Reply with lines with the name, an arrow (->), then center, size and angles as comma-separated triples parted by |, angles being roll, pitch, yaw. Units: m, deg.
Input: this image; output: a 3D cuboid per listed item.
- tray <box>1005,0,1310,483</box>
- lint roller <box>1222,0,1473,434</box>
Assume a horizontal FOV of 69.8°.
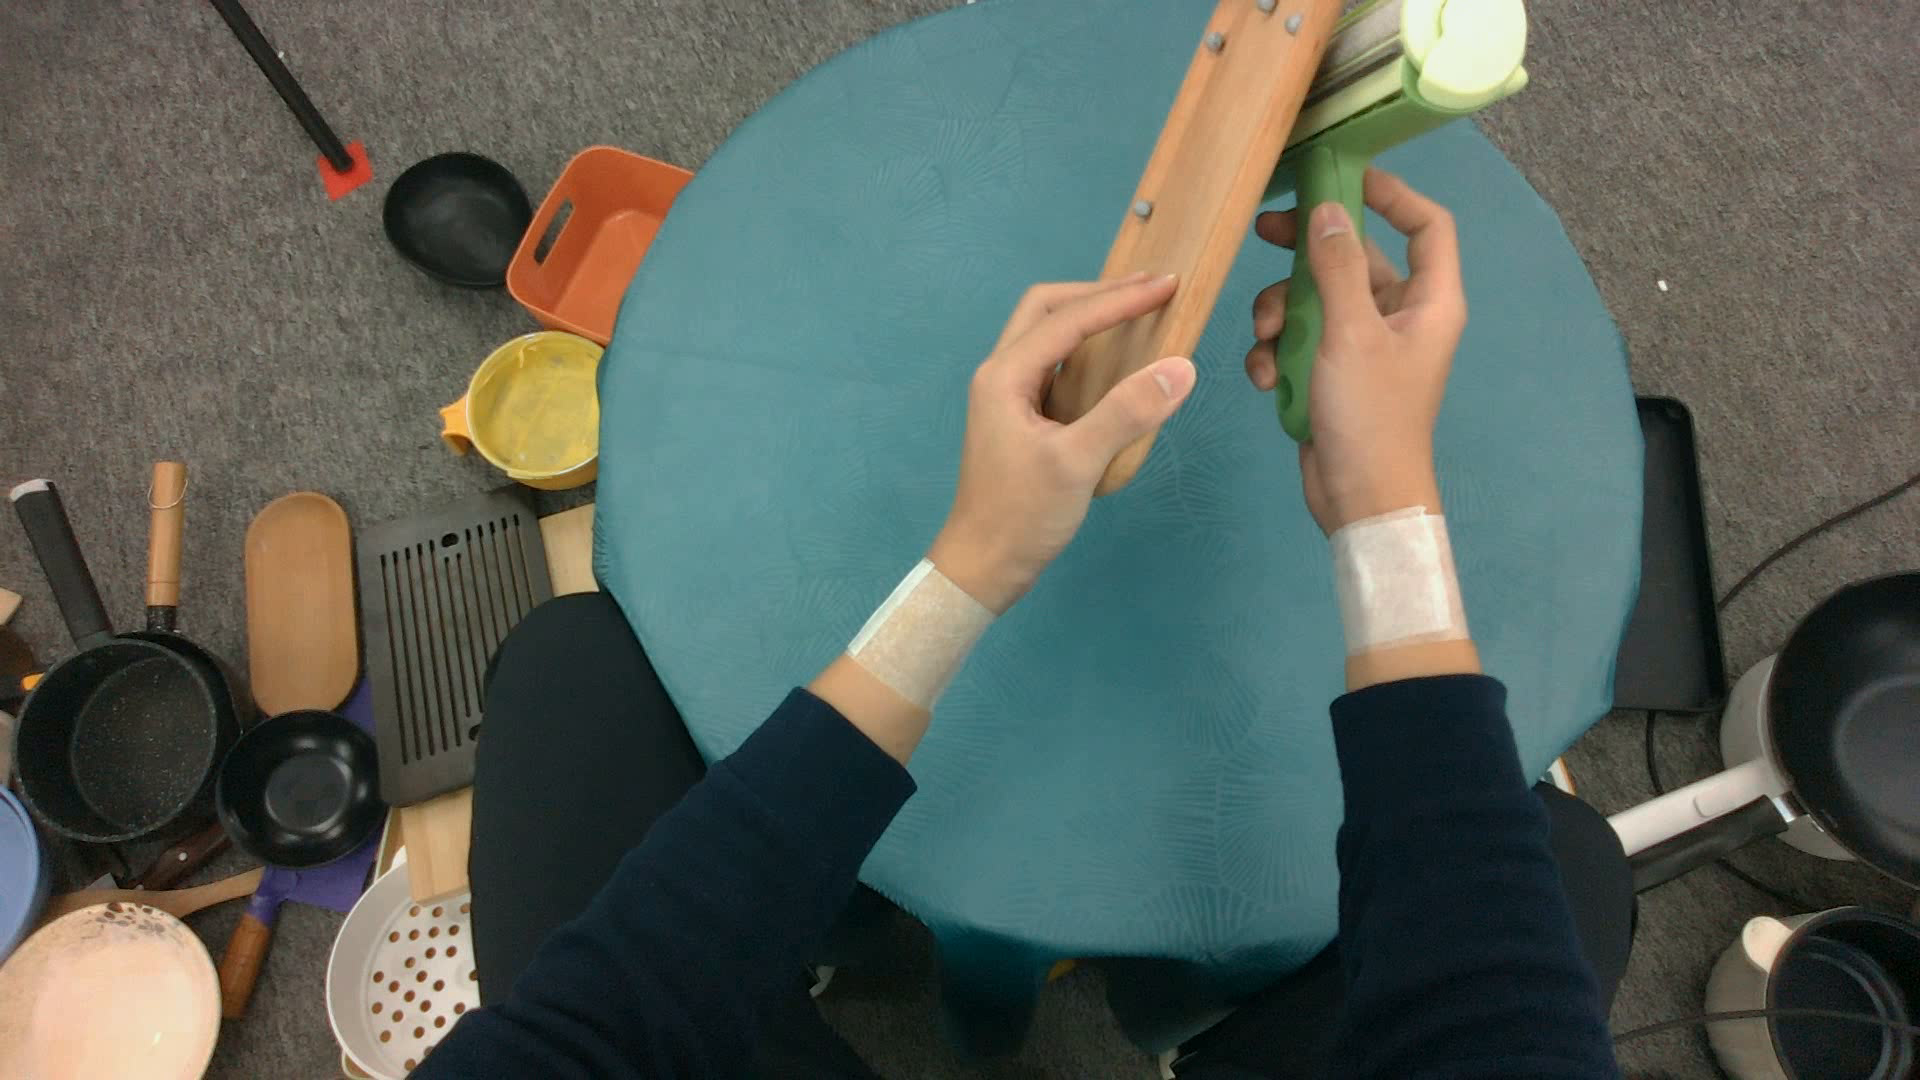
tray -> 0.085, -0.145, 0.602 | 0.023, 0.130, 0.250 | 20, 95, -14
lint roller -> 0.159, -0.143, 0.605 | 0.082, 0.198, 0.183 | -11, 96, -14
